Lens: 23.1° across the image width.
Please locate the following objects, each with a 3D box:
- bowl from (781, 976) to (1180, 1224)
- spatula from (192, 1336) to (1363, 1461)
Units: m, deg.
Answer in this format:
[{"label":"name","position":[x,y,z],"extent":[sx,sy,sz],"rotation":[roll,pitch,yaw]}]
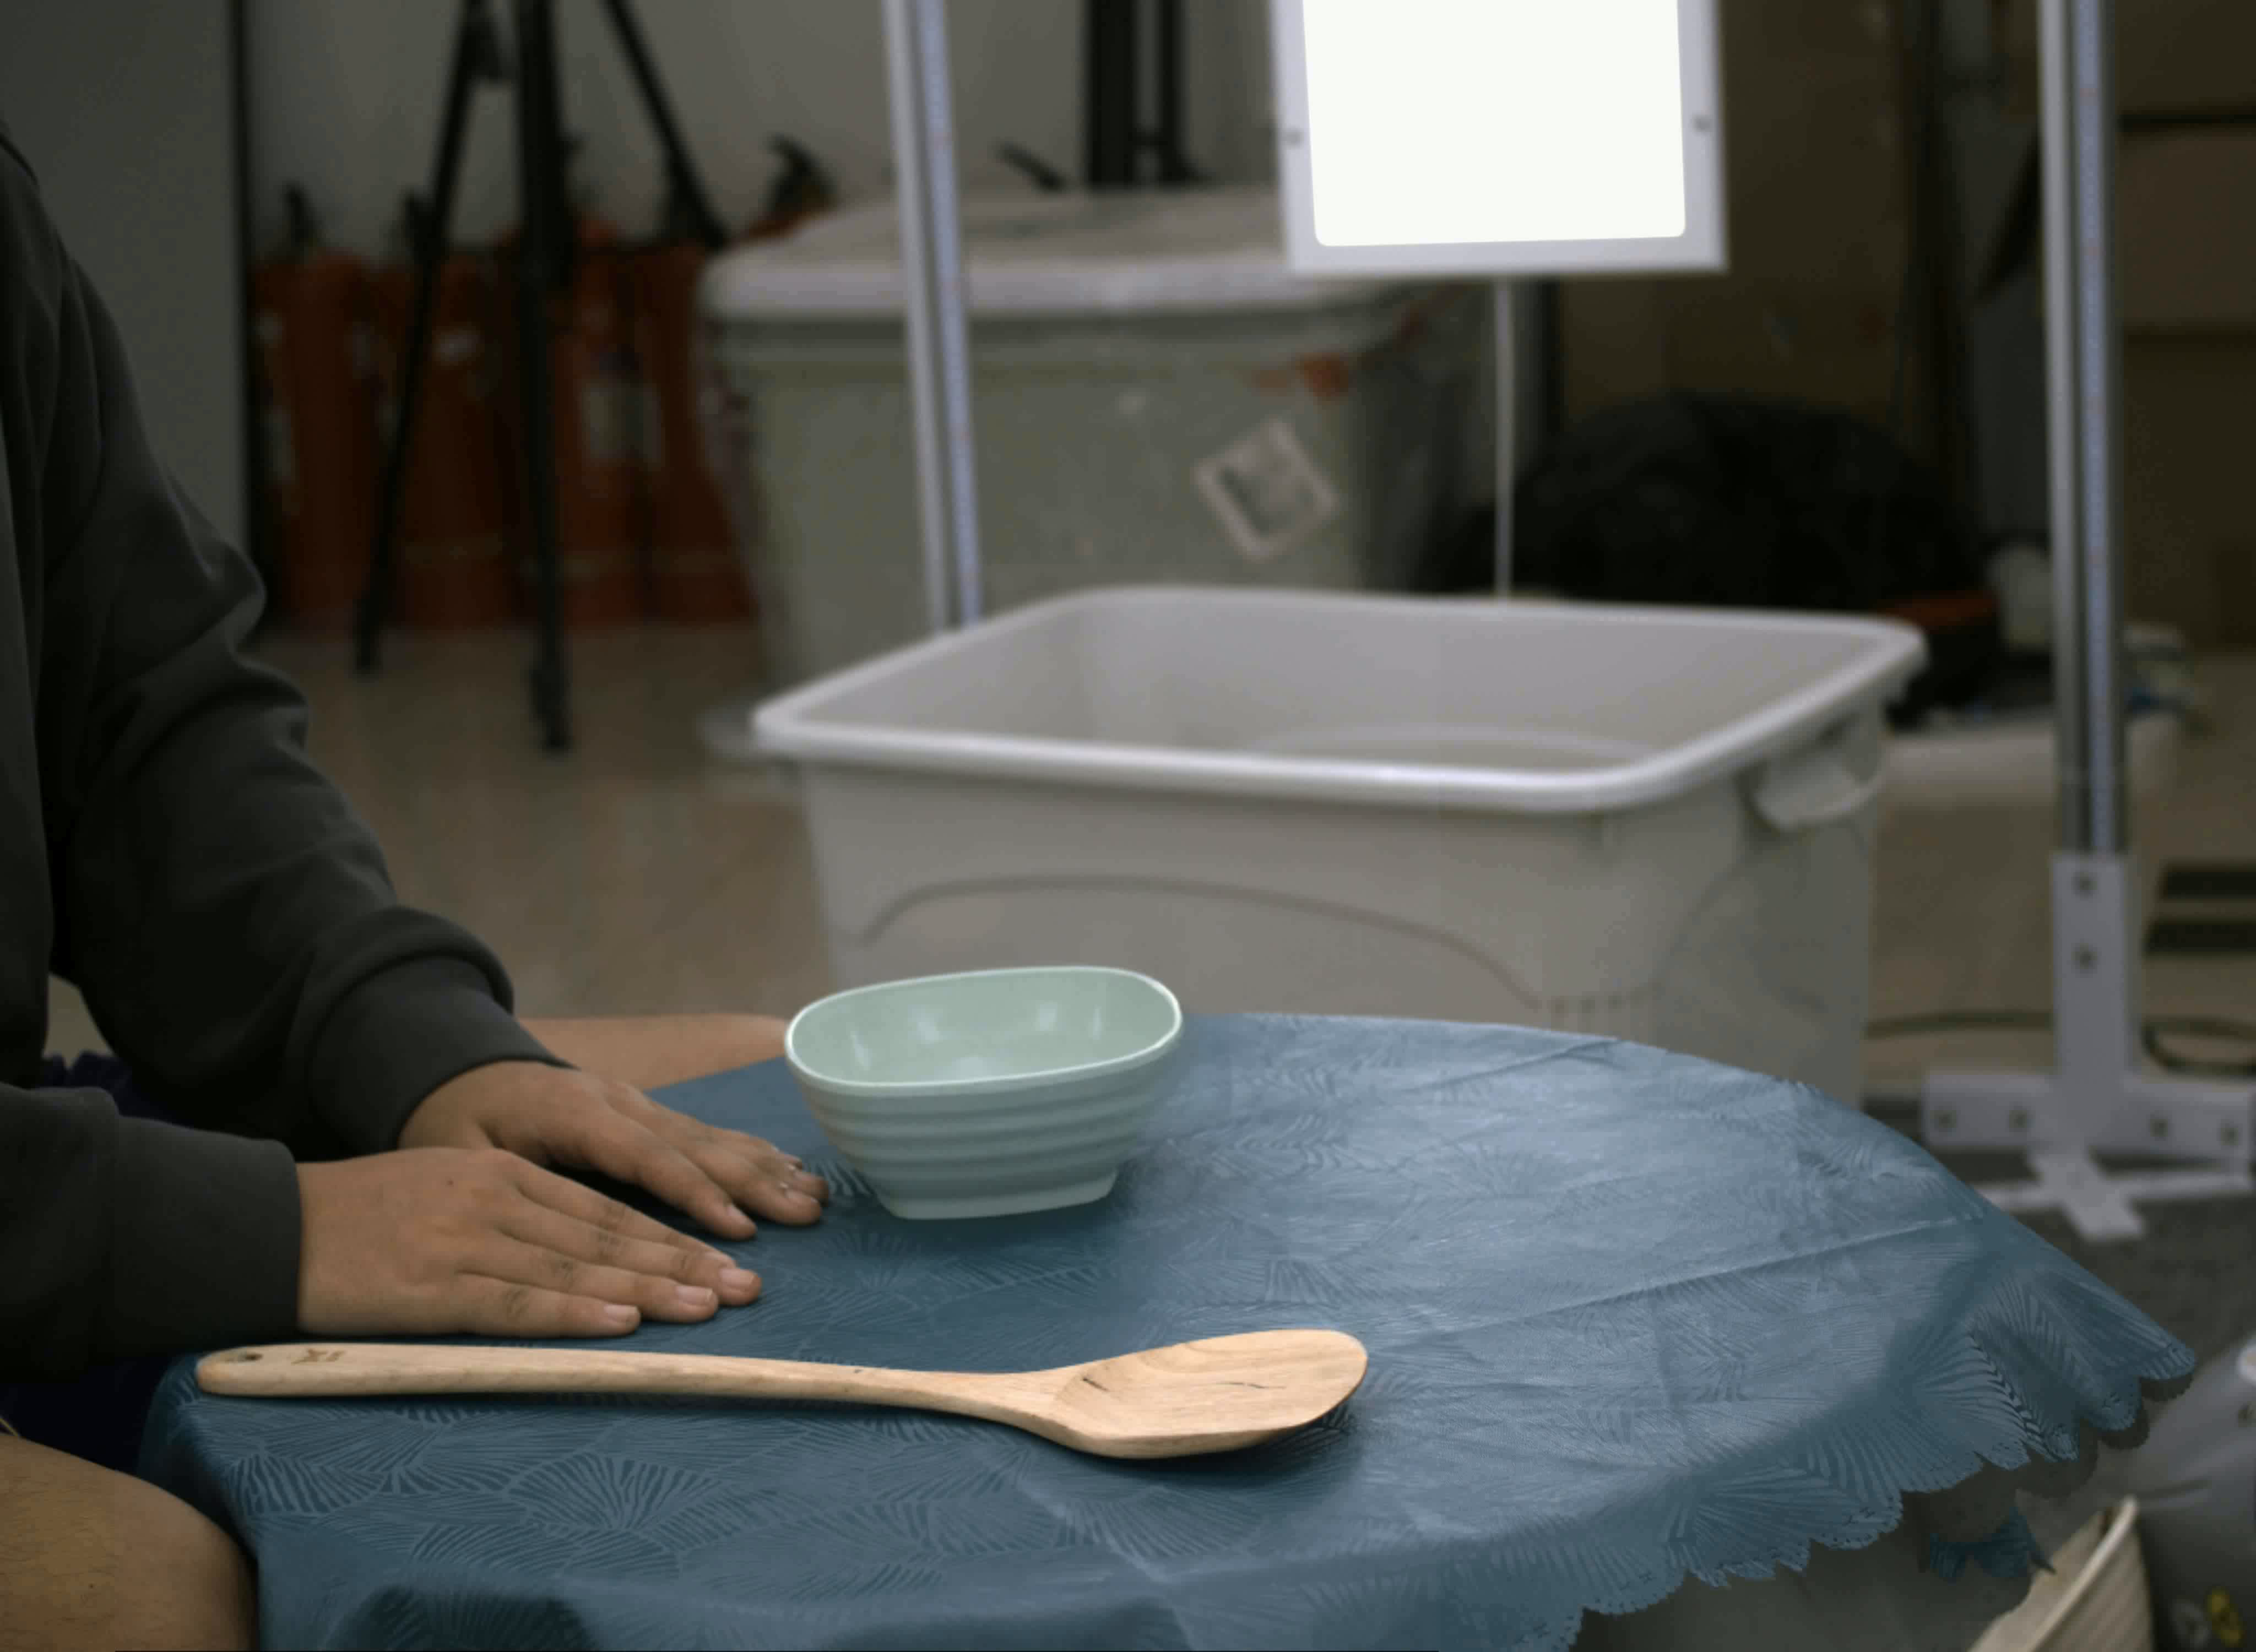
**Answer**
[{"label":"bowl","position":[-0.050,0.098,1.918],"extent":[0.151,0.059,0.151],"rotation":[-3,13,-1]},{"label":"spatula","position":[-0.117,0.173,1.712],"extent":[0.396,0.018,0.094],"rotation":[0,13,20]}]
